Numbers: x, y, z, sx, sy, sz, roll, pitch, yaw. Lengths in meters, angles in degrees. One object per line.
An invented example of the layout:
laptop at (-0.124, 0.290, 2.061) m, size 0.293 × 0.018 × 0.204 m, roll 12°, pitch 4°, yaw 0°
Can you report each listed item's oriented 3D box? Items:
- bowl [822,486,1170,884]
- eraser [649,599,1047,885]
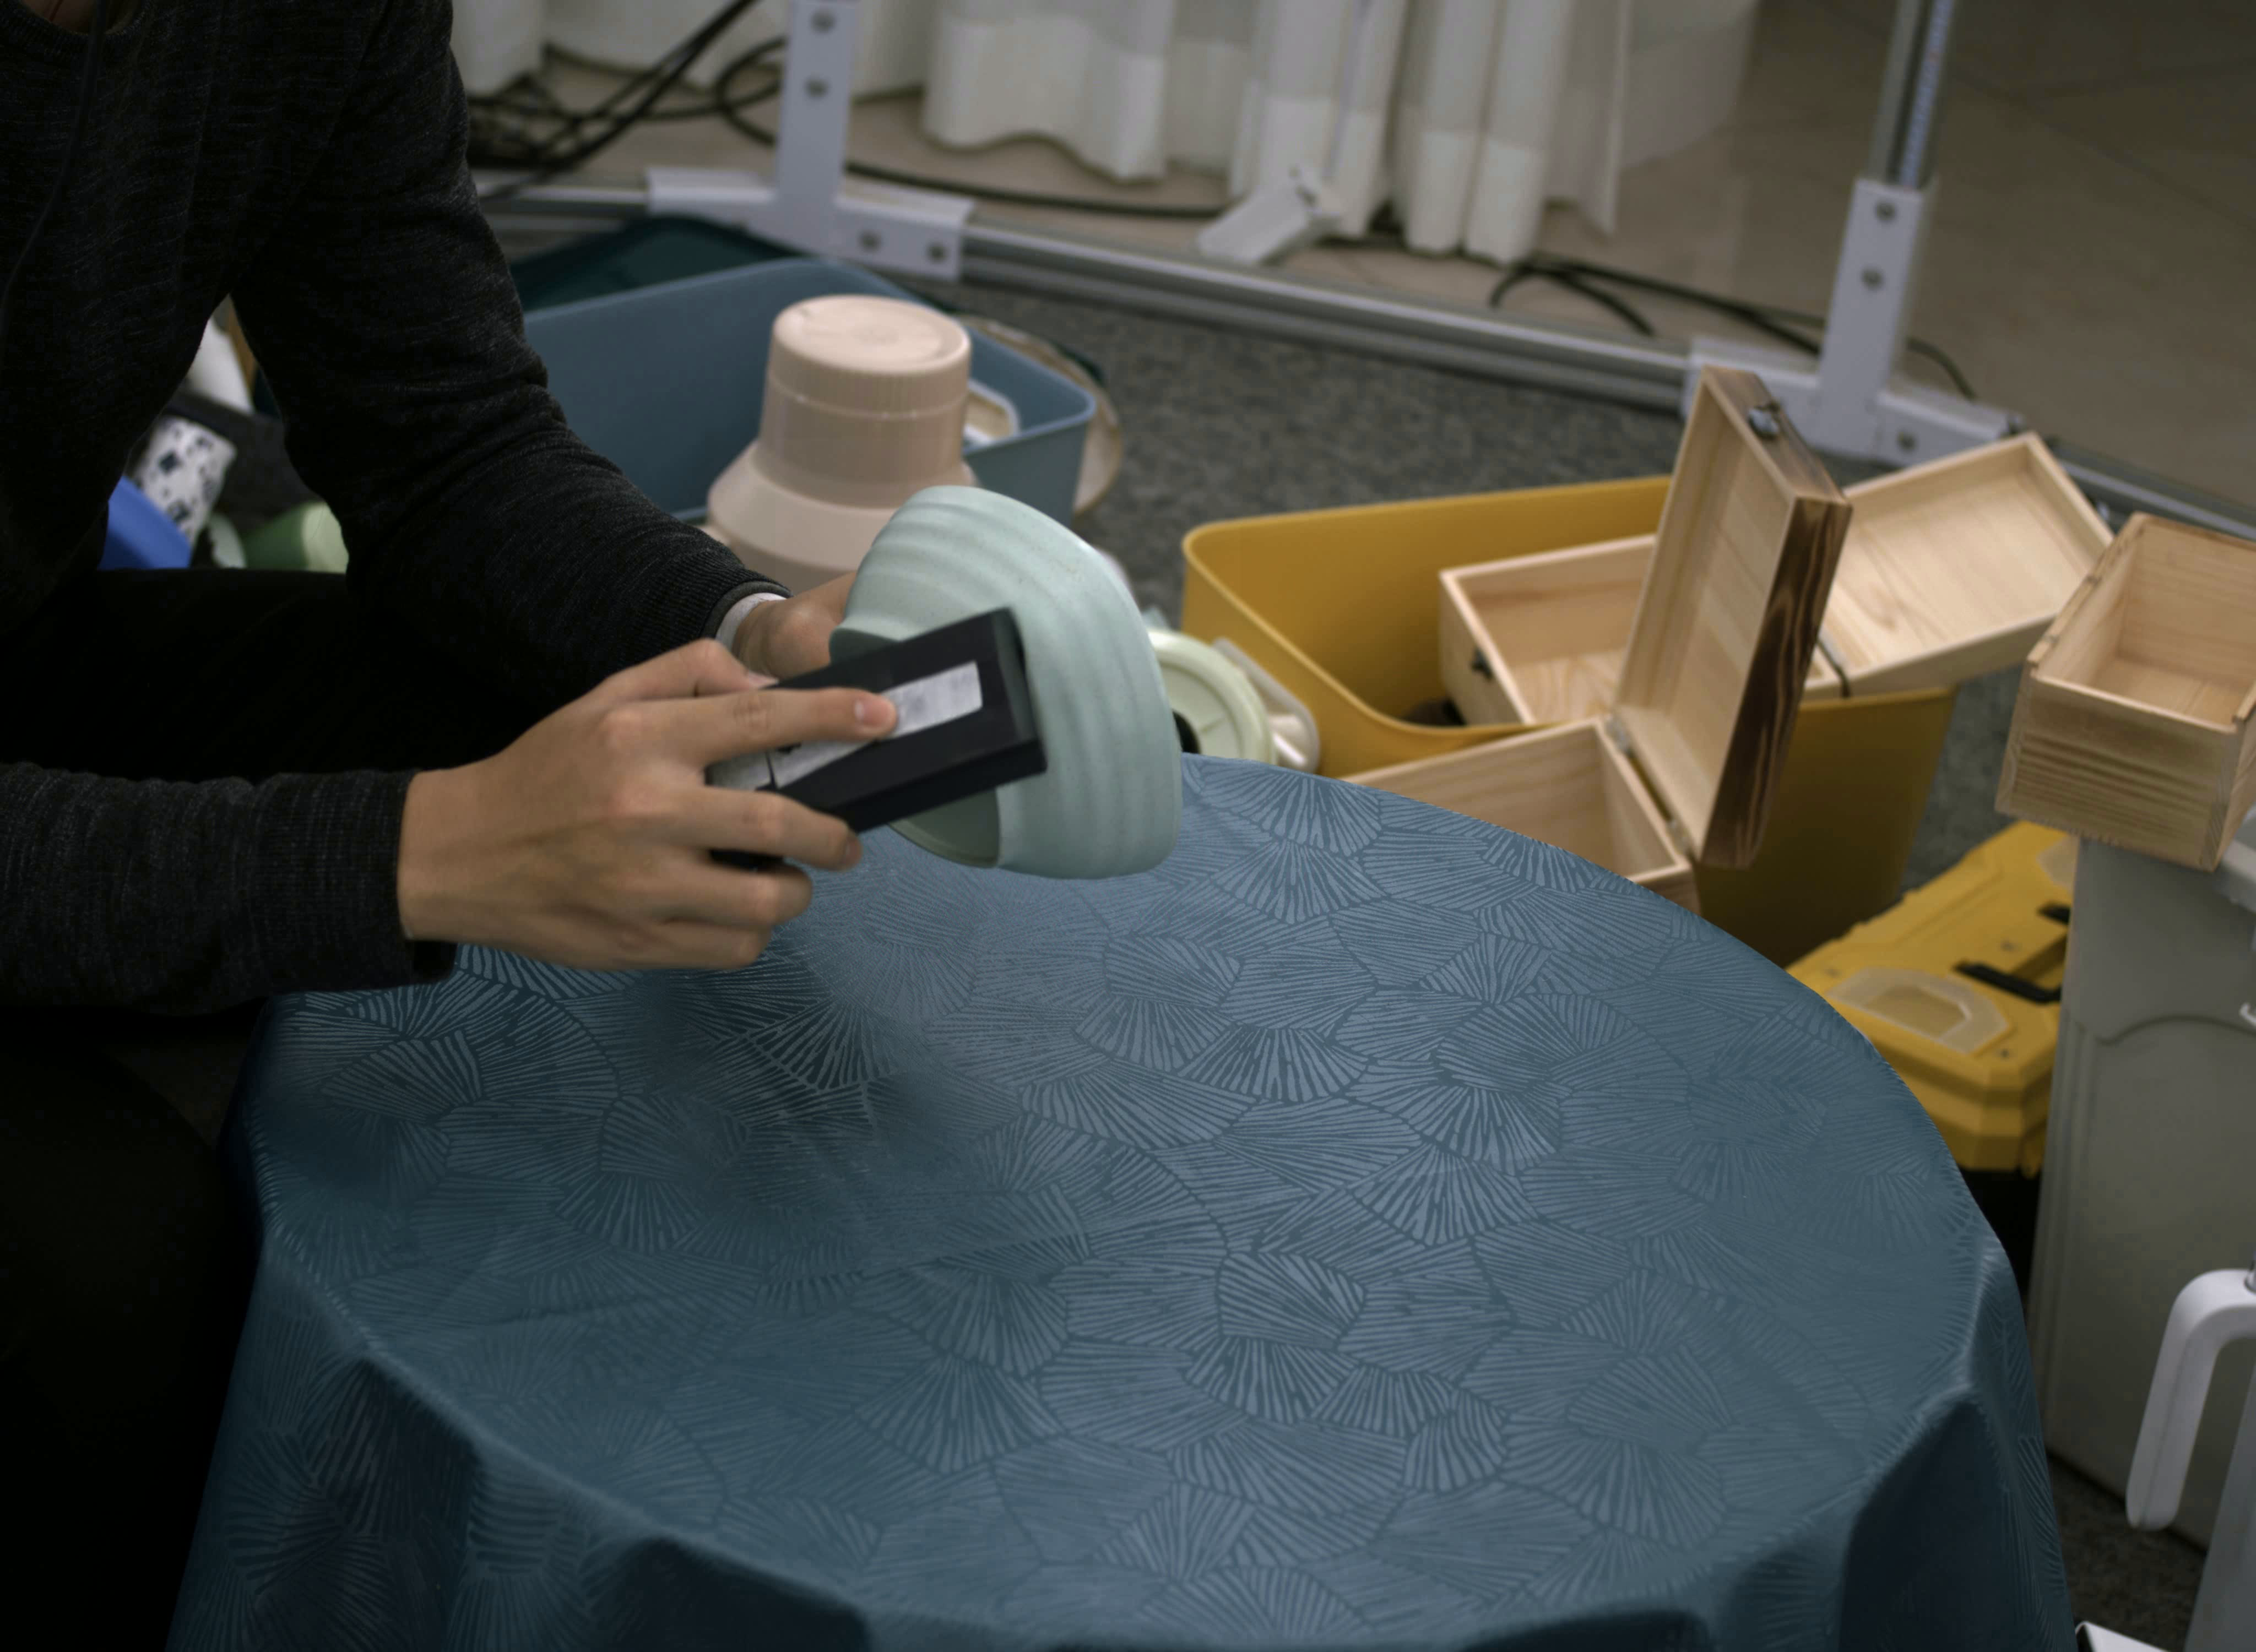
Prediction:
bowl at (-0.053, -0.038, 1.783) m, size 0.058 × 0.150 × 0.153 m, roll -28°, pitch 42°, yaw -29°
eraser at (-0.090, -0.027, 1.717) m, size 0.125 × 0.030 × 0.054 m, roll -21°, pitch 65°, yaw 10°
